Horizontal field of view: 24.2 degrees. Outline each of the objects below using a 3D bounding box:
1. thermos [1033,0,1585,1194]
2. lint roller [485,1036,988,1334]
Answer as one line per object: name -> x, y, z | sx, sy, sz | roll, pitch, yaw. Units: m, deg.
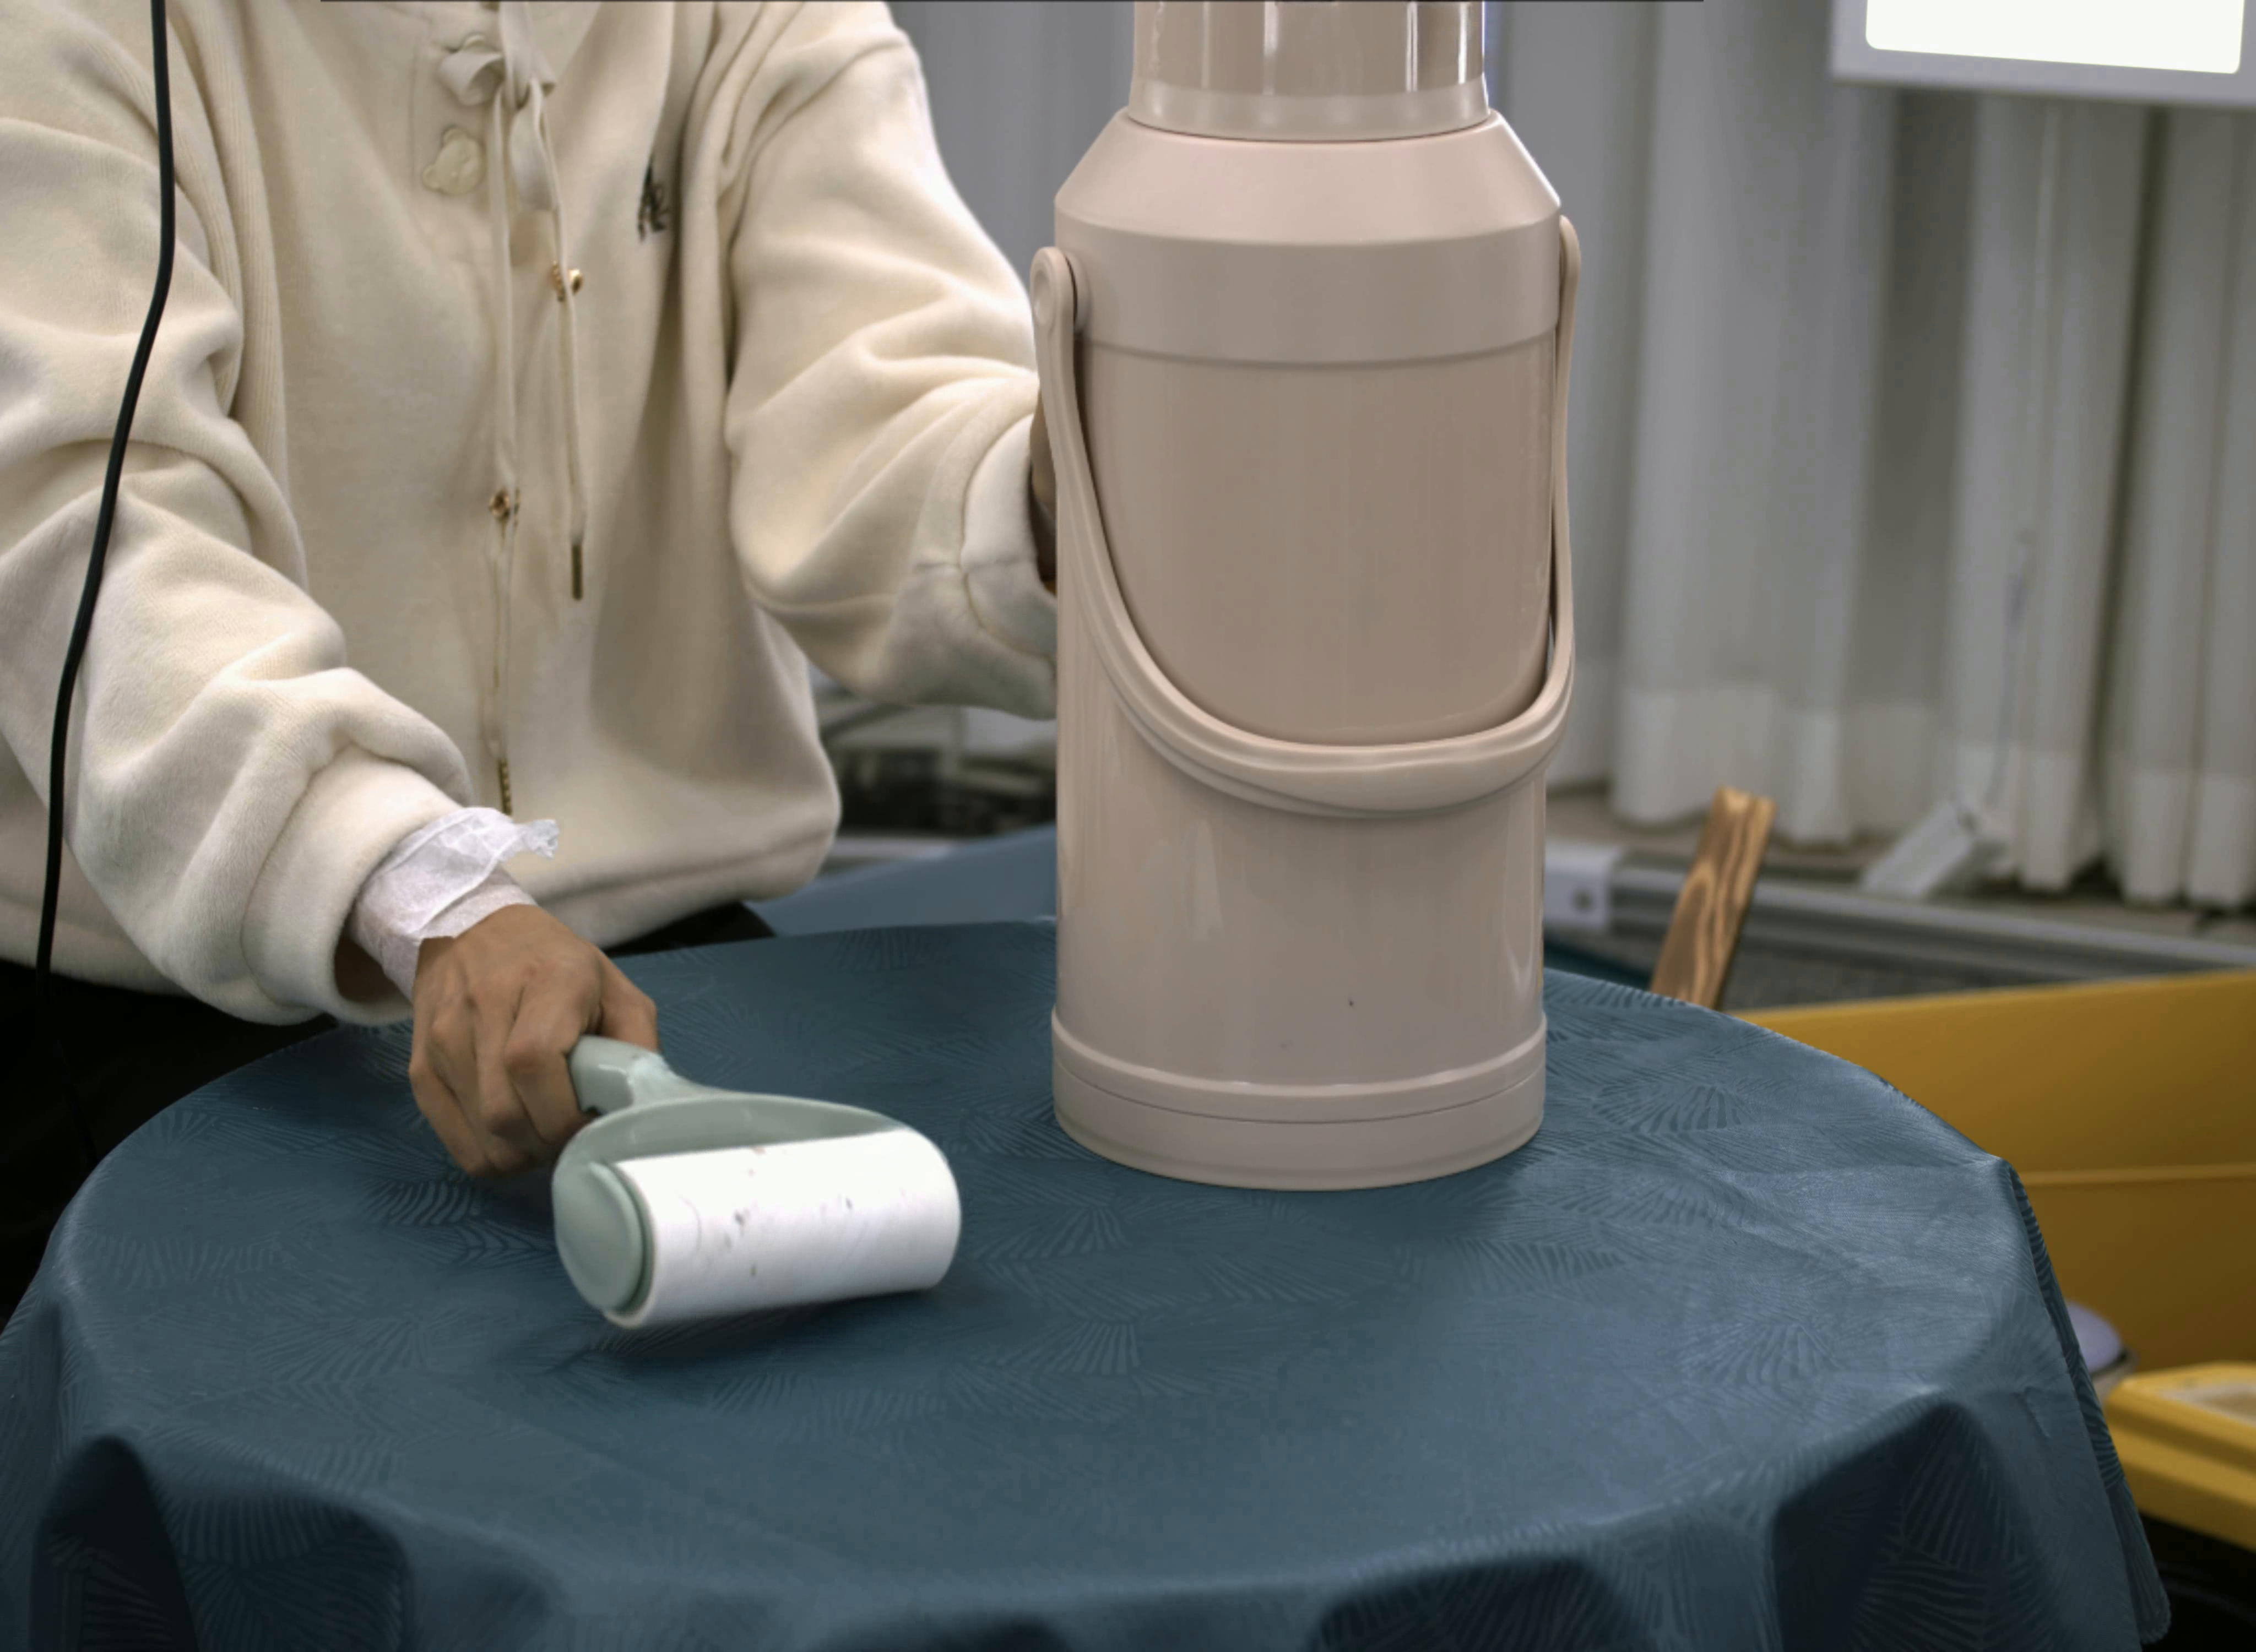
thermos -> 0.052, -0.102, 1.652 | 0.176, 0.410, 0.204 | -7, 17, -21
lint roller -> -0.135, 0.092, 1.560 | 0.117, 0.049, 0.195 | -7, 23, -33
